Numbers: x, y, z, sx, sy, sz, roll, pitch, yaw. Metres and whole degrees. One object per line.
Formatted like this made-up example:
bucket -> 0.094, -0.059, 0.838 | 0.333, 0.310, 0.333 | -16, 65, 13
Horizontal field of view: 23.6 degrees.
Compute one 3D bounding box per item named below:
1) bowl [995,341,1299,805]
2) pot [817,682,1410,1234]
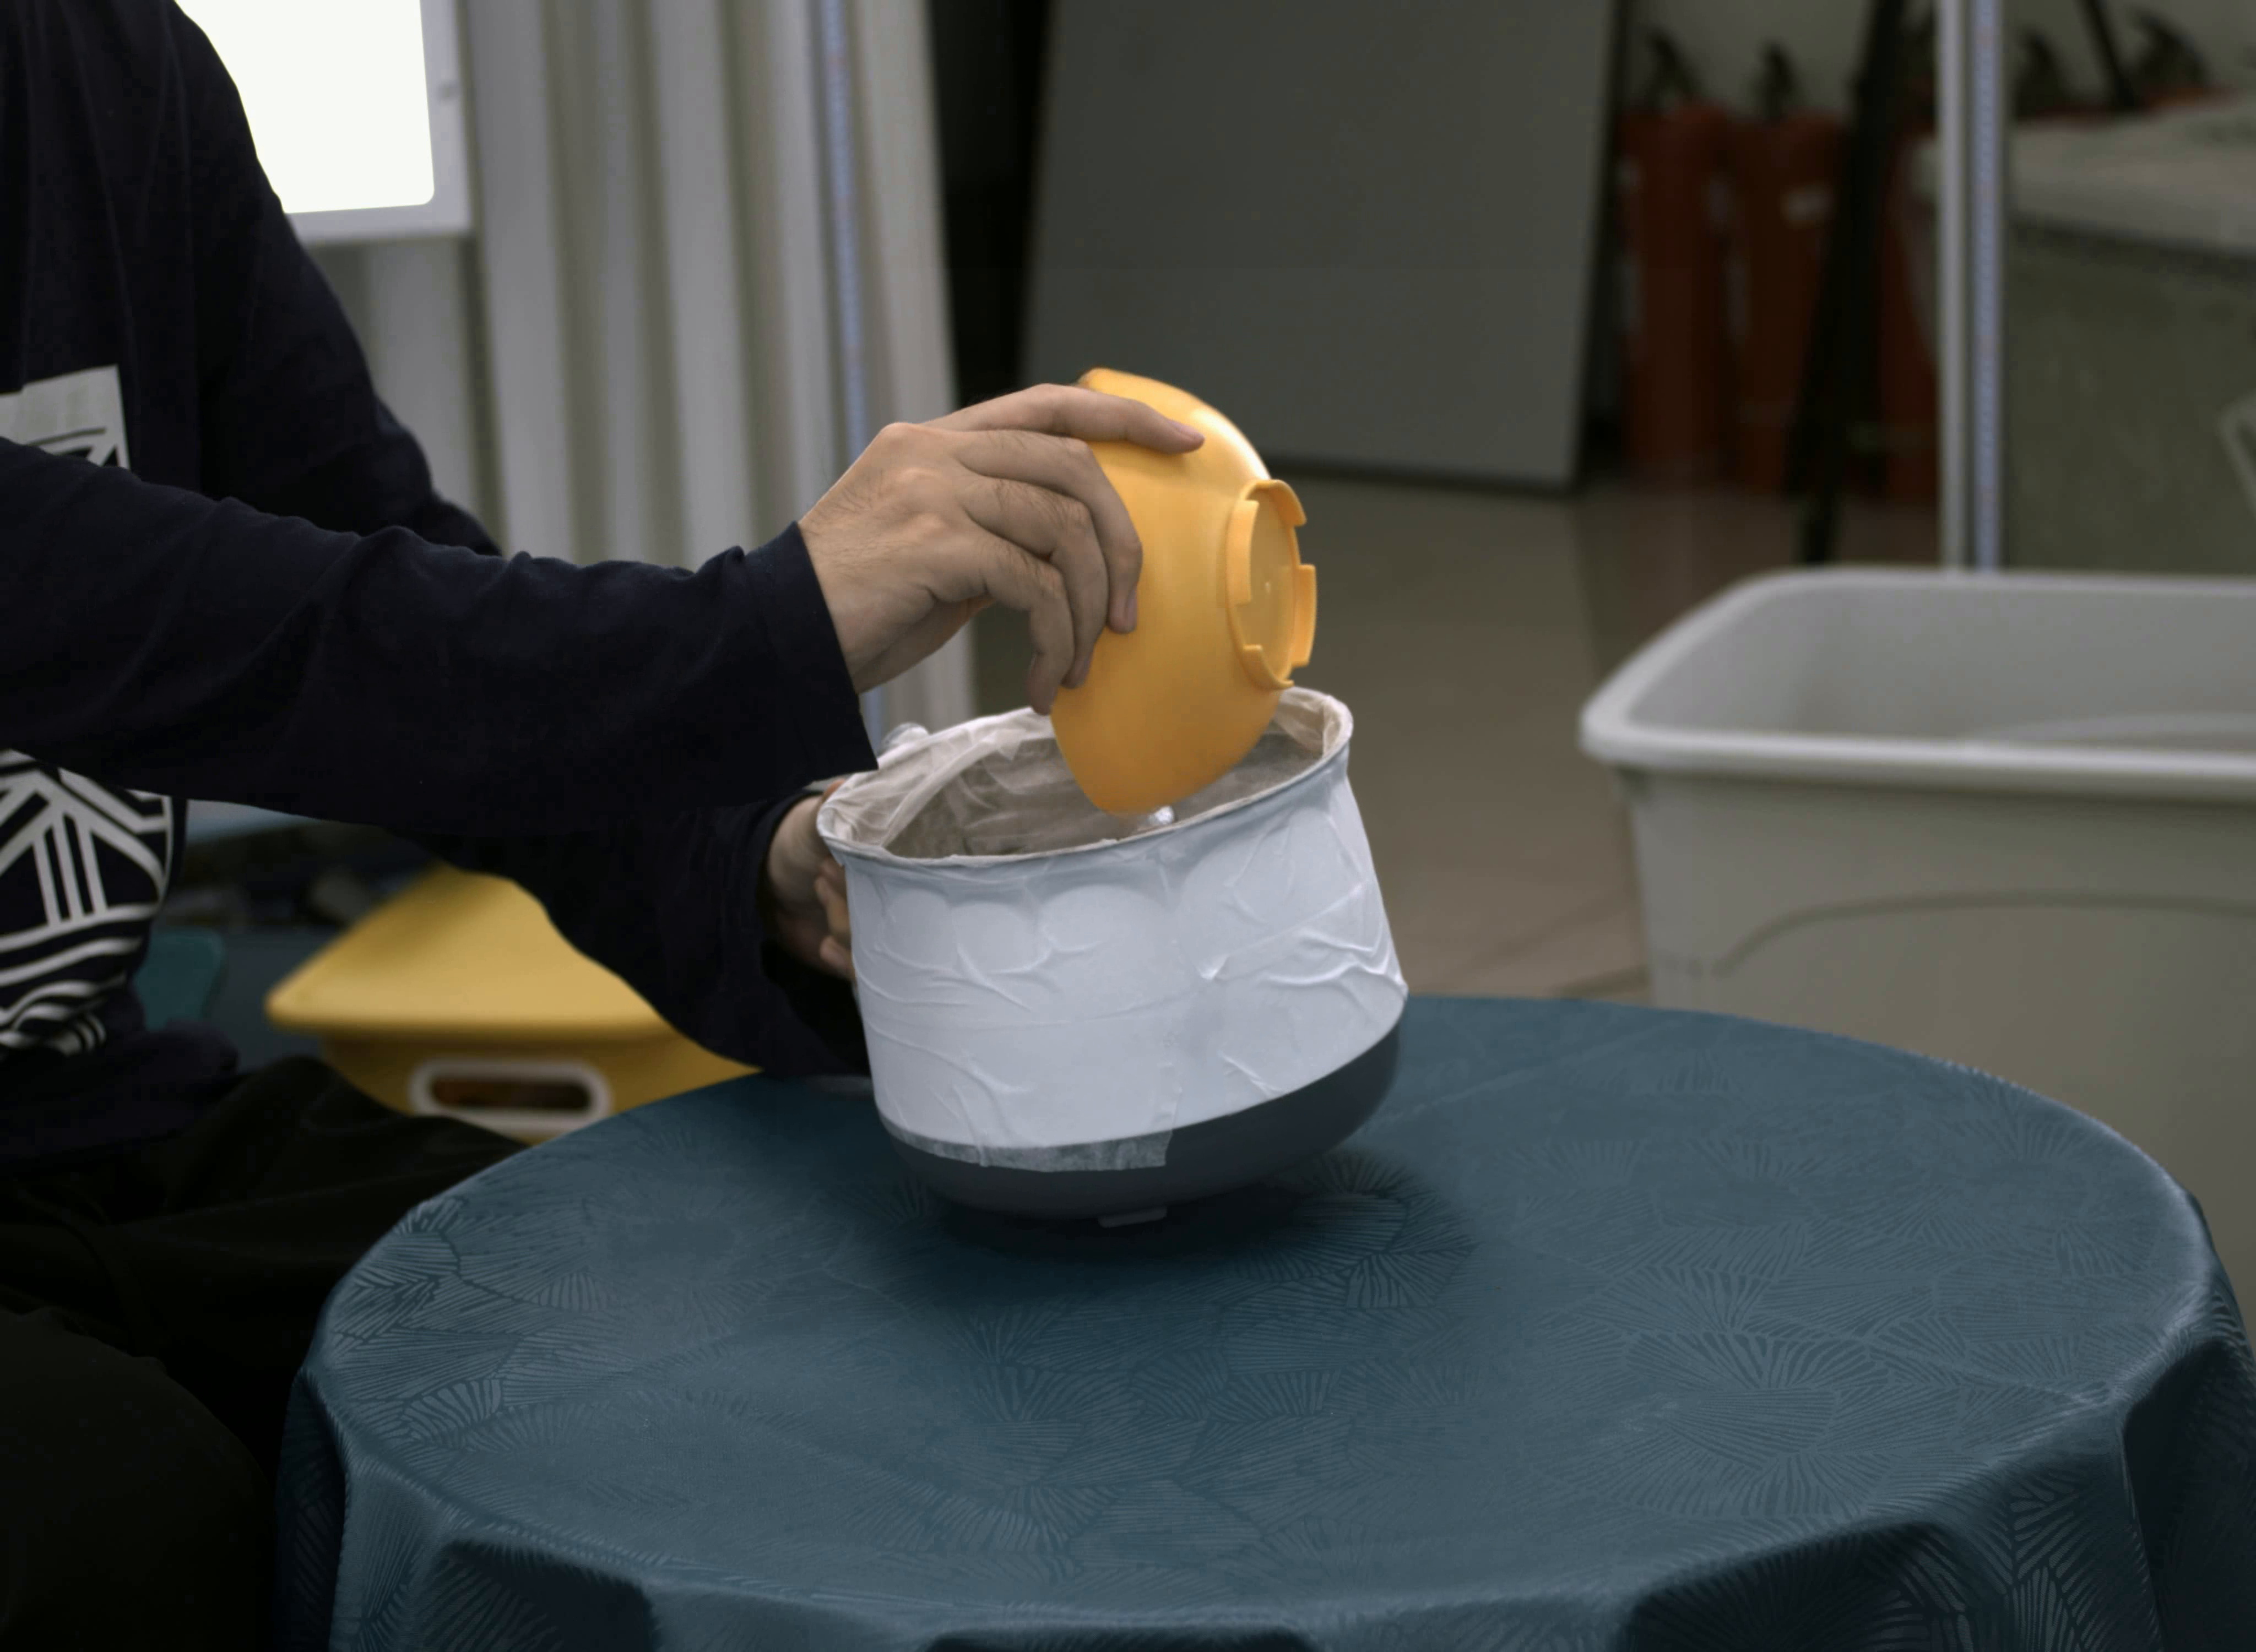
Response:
bowl -> 0.015, -0.078, 1.700 | 0.060, 0.147, 0.143 | 3, 15, 25
pot -> -0.018, 0.041, 1.768 | 0.175, 0.138, 0.236 | -22, 17, -33
